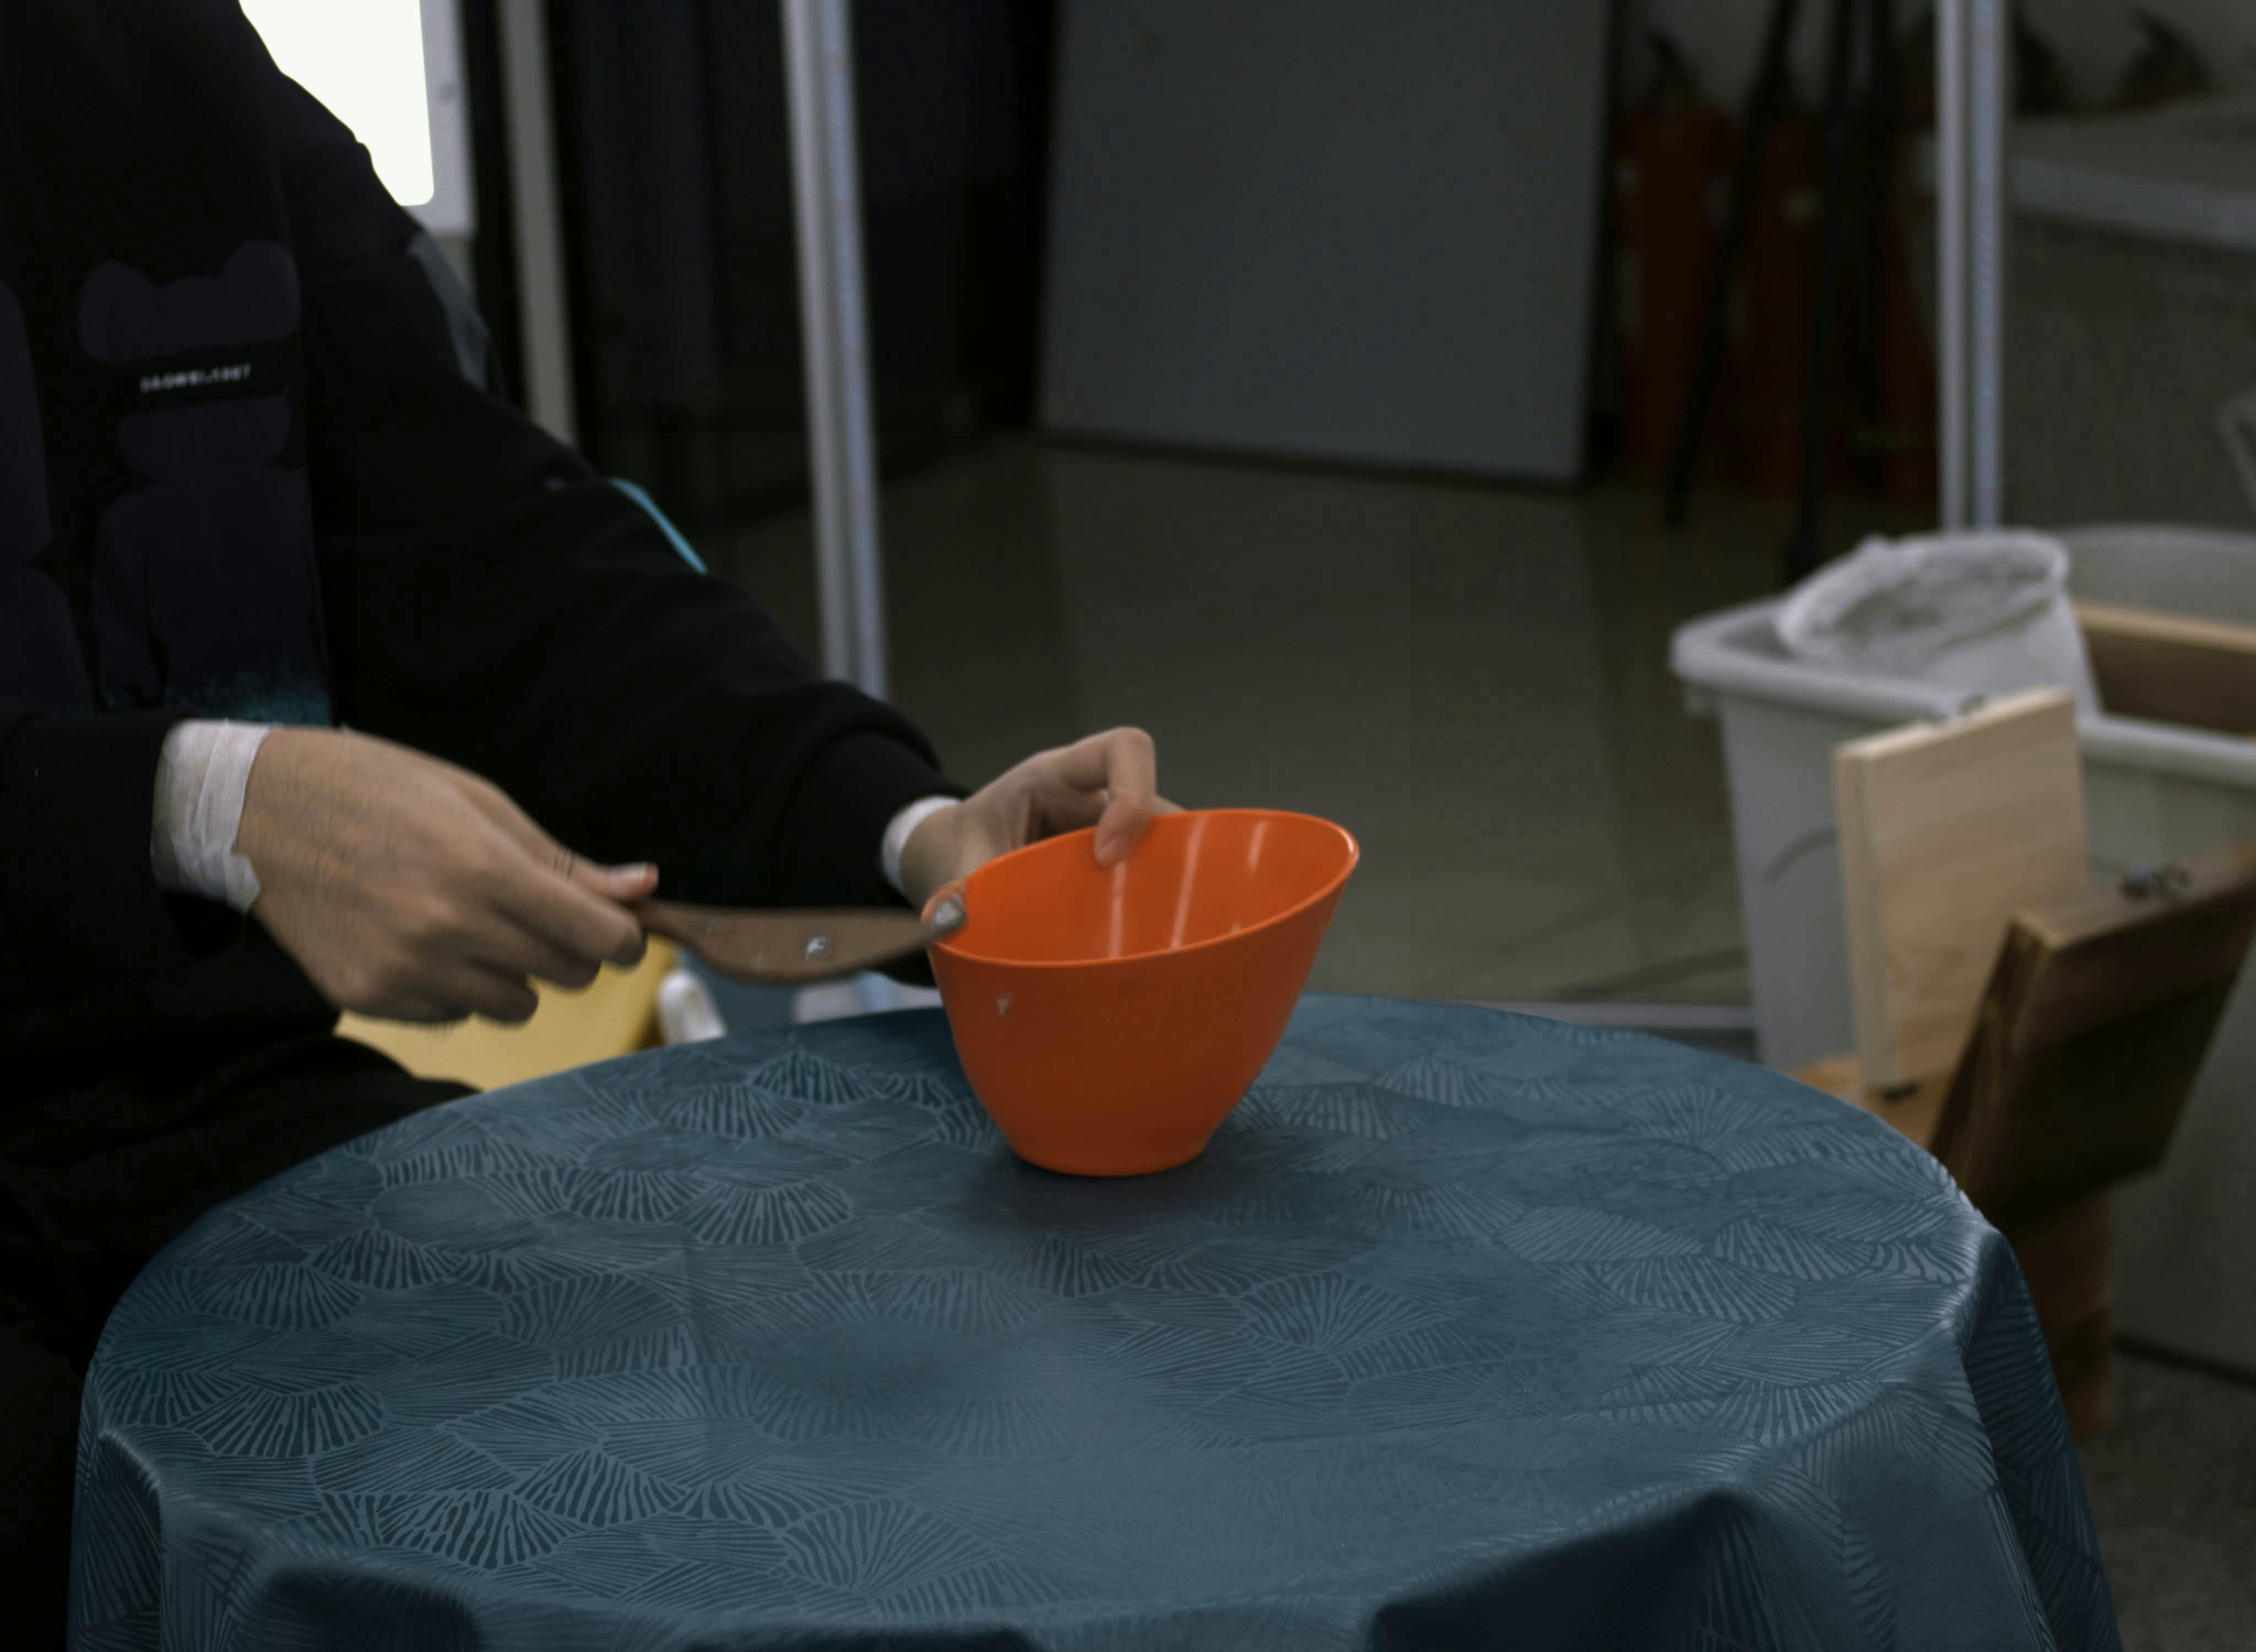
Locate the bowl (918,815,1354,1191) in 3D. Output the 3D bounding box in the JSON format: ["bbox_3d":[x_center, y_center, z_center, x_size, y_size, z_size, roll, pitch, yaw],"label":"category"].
[{"bbox_3d":[0.004,0.061,1.799,0.146,0.106,0.148,-3,16,0],"label":"bowl"}]

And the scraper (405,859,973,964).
[{"bbox_3d":[-0.146,0.025,1.709,0.213,0.011,0.074,6,17,37],"label":"scraper"}]
